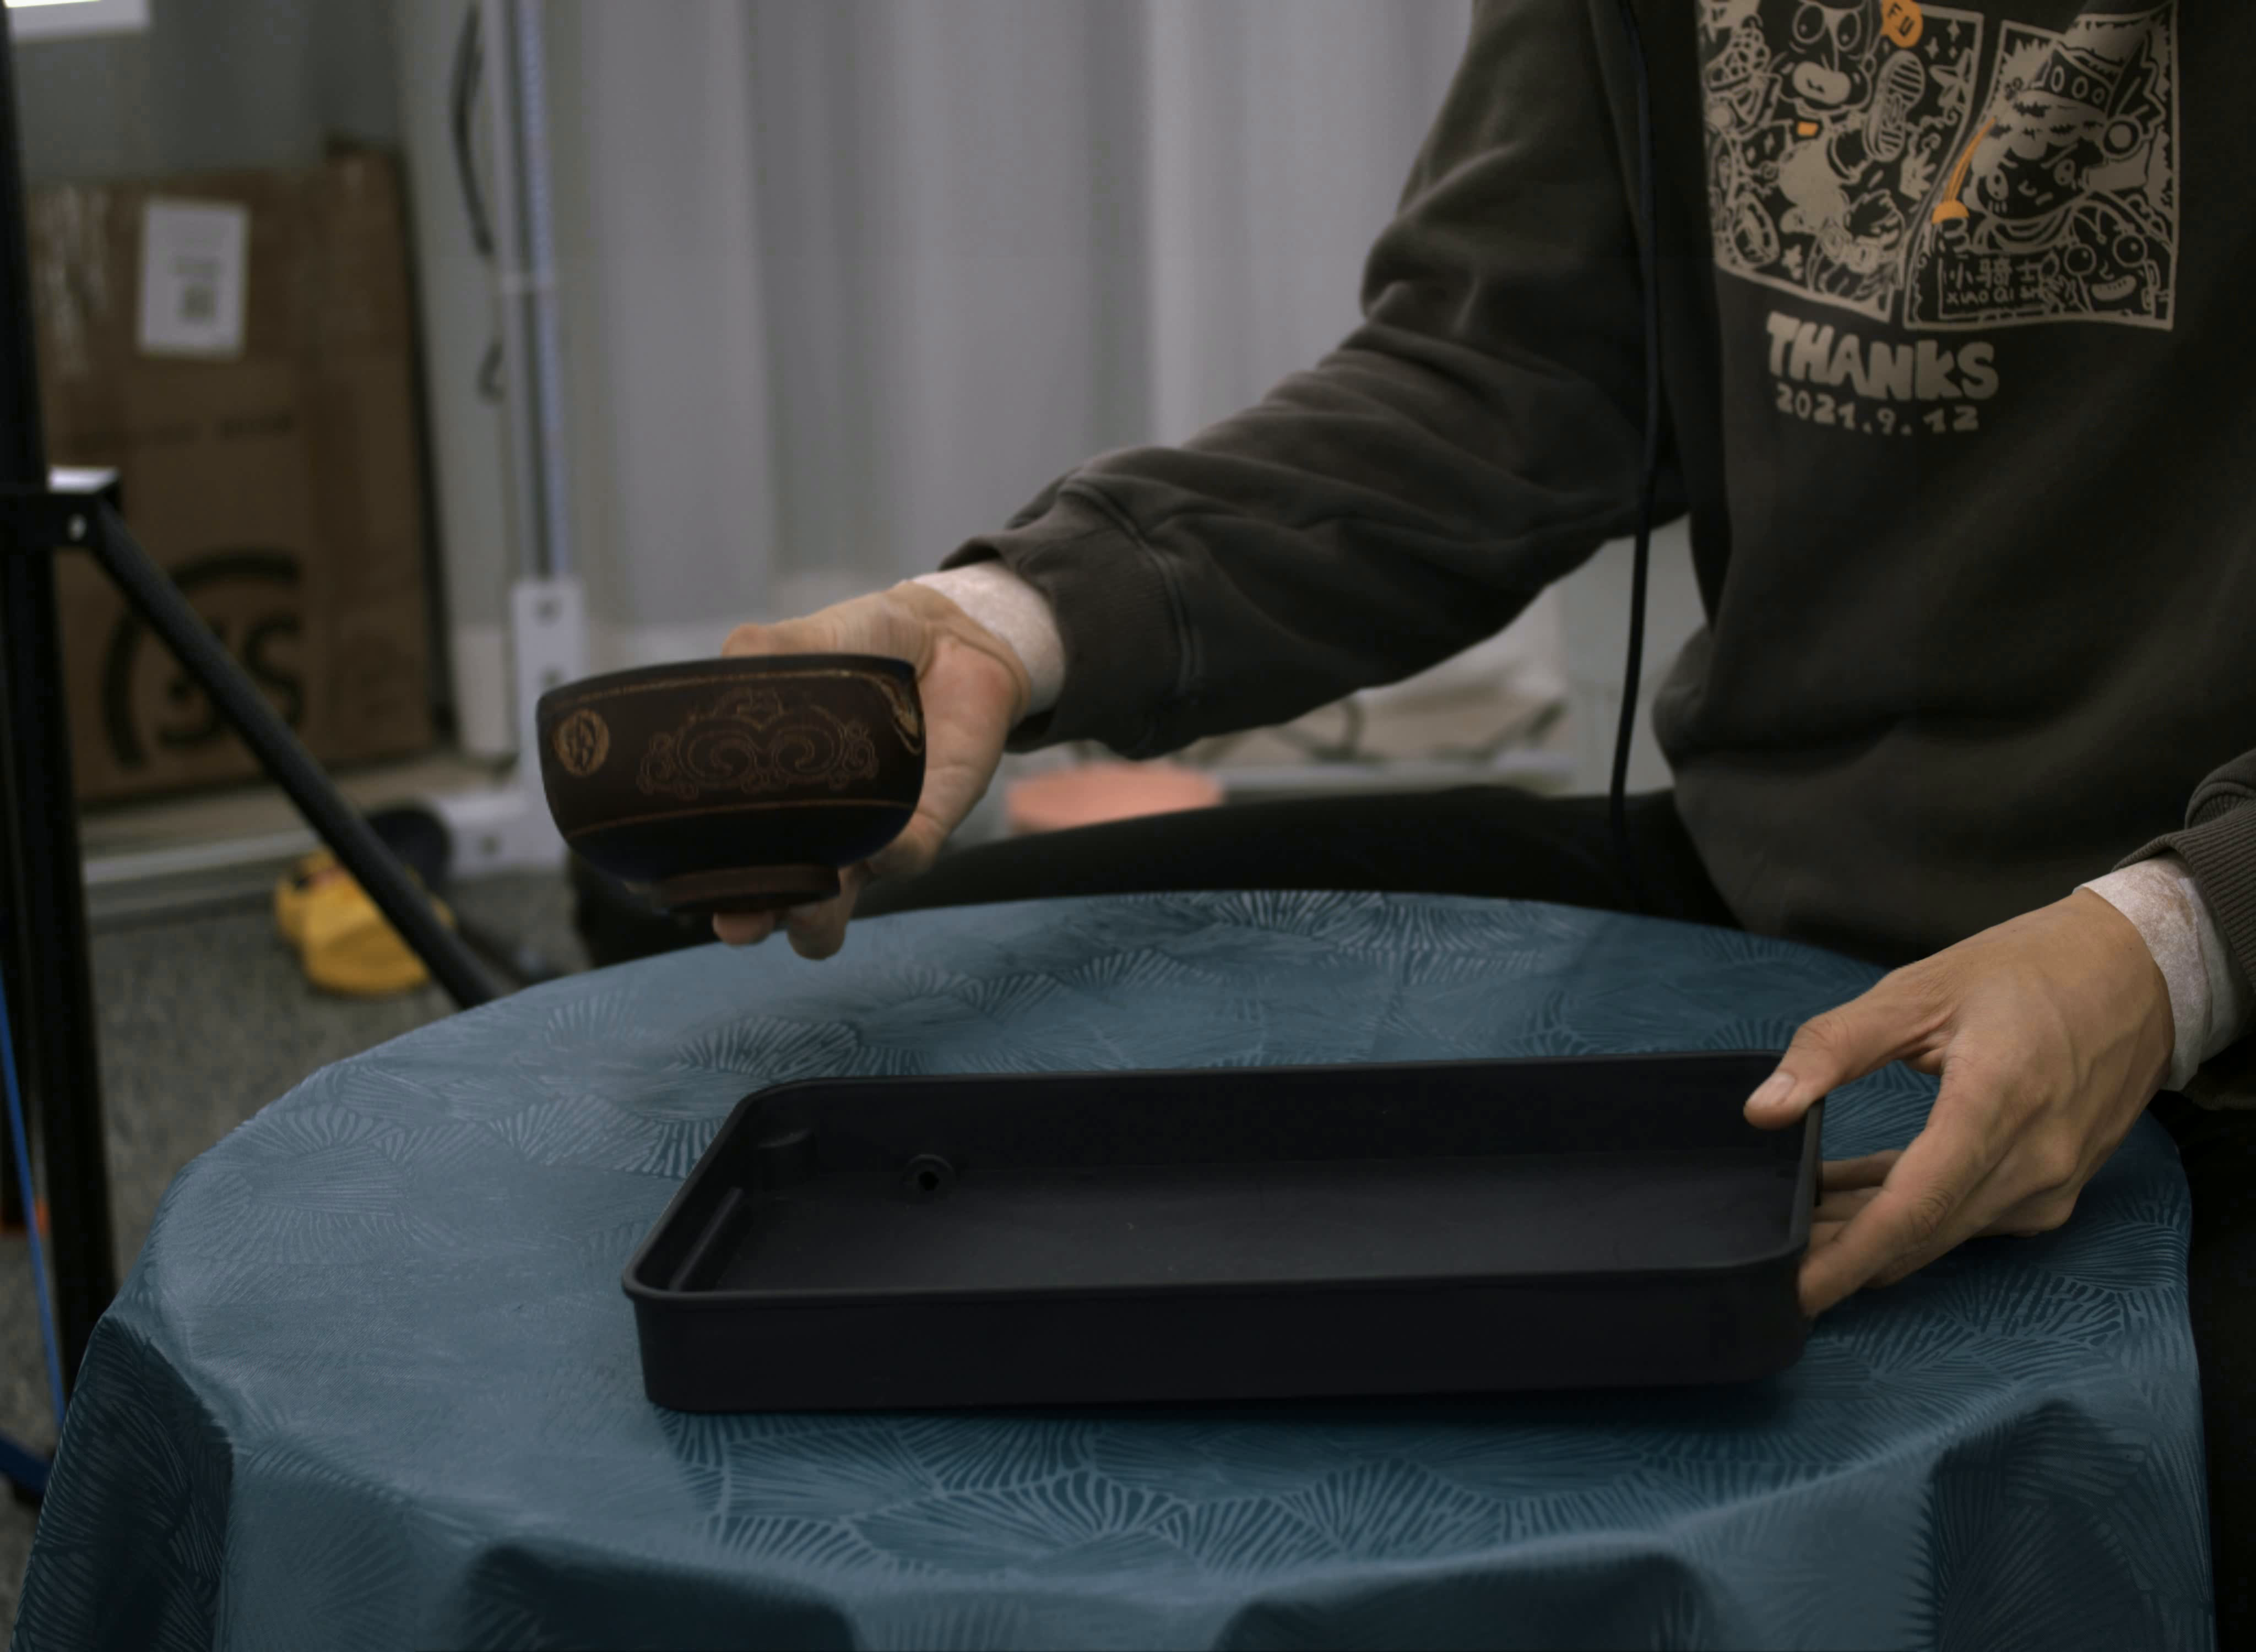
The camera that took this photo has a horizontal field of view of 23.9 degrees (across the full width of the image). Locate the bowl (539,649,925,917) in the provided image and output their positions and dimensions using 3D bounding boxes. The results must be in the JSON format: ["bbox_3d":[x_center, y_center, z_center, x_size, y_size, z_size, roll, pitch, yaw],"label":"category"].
[{"bbox_3d":[-0.119,-0.010,1.628,0.117,0.070,0.118,-5,-8,-2],"label":"bowl"}]

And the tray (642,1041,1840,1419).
[{"bbox_3d":[0.037,0.110,1.460,0.319,0.037,0.184,-3,14,10],"label":"tray"}]
